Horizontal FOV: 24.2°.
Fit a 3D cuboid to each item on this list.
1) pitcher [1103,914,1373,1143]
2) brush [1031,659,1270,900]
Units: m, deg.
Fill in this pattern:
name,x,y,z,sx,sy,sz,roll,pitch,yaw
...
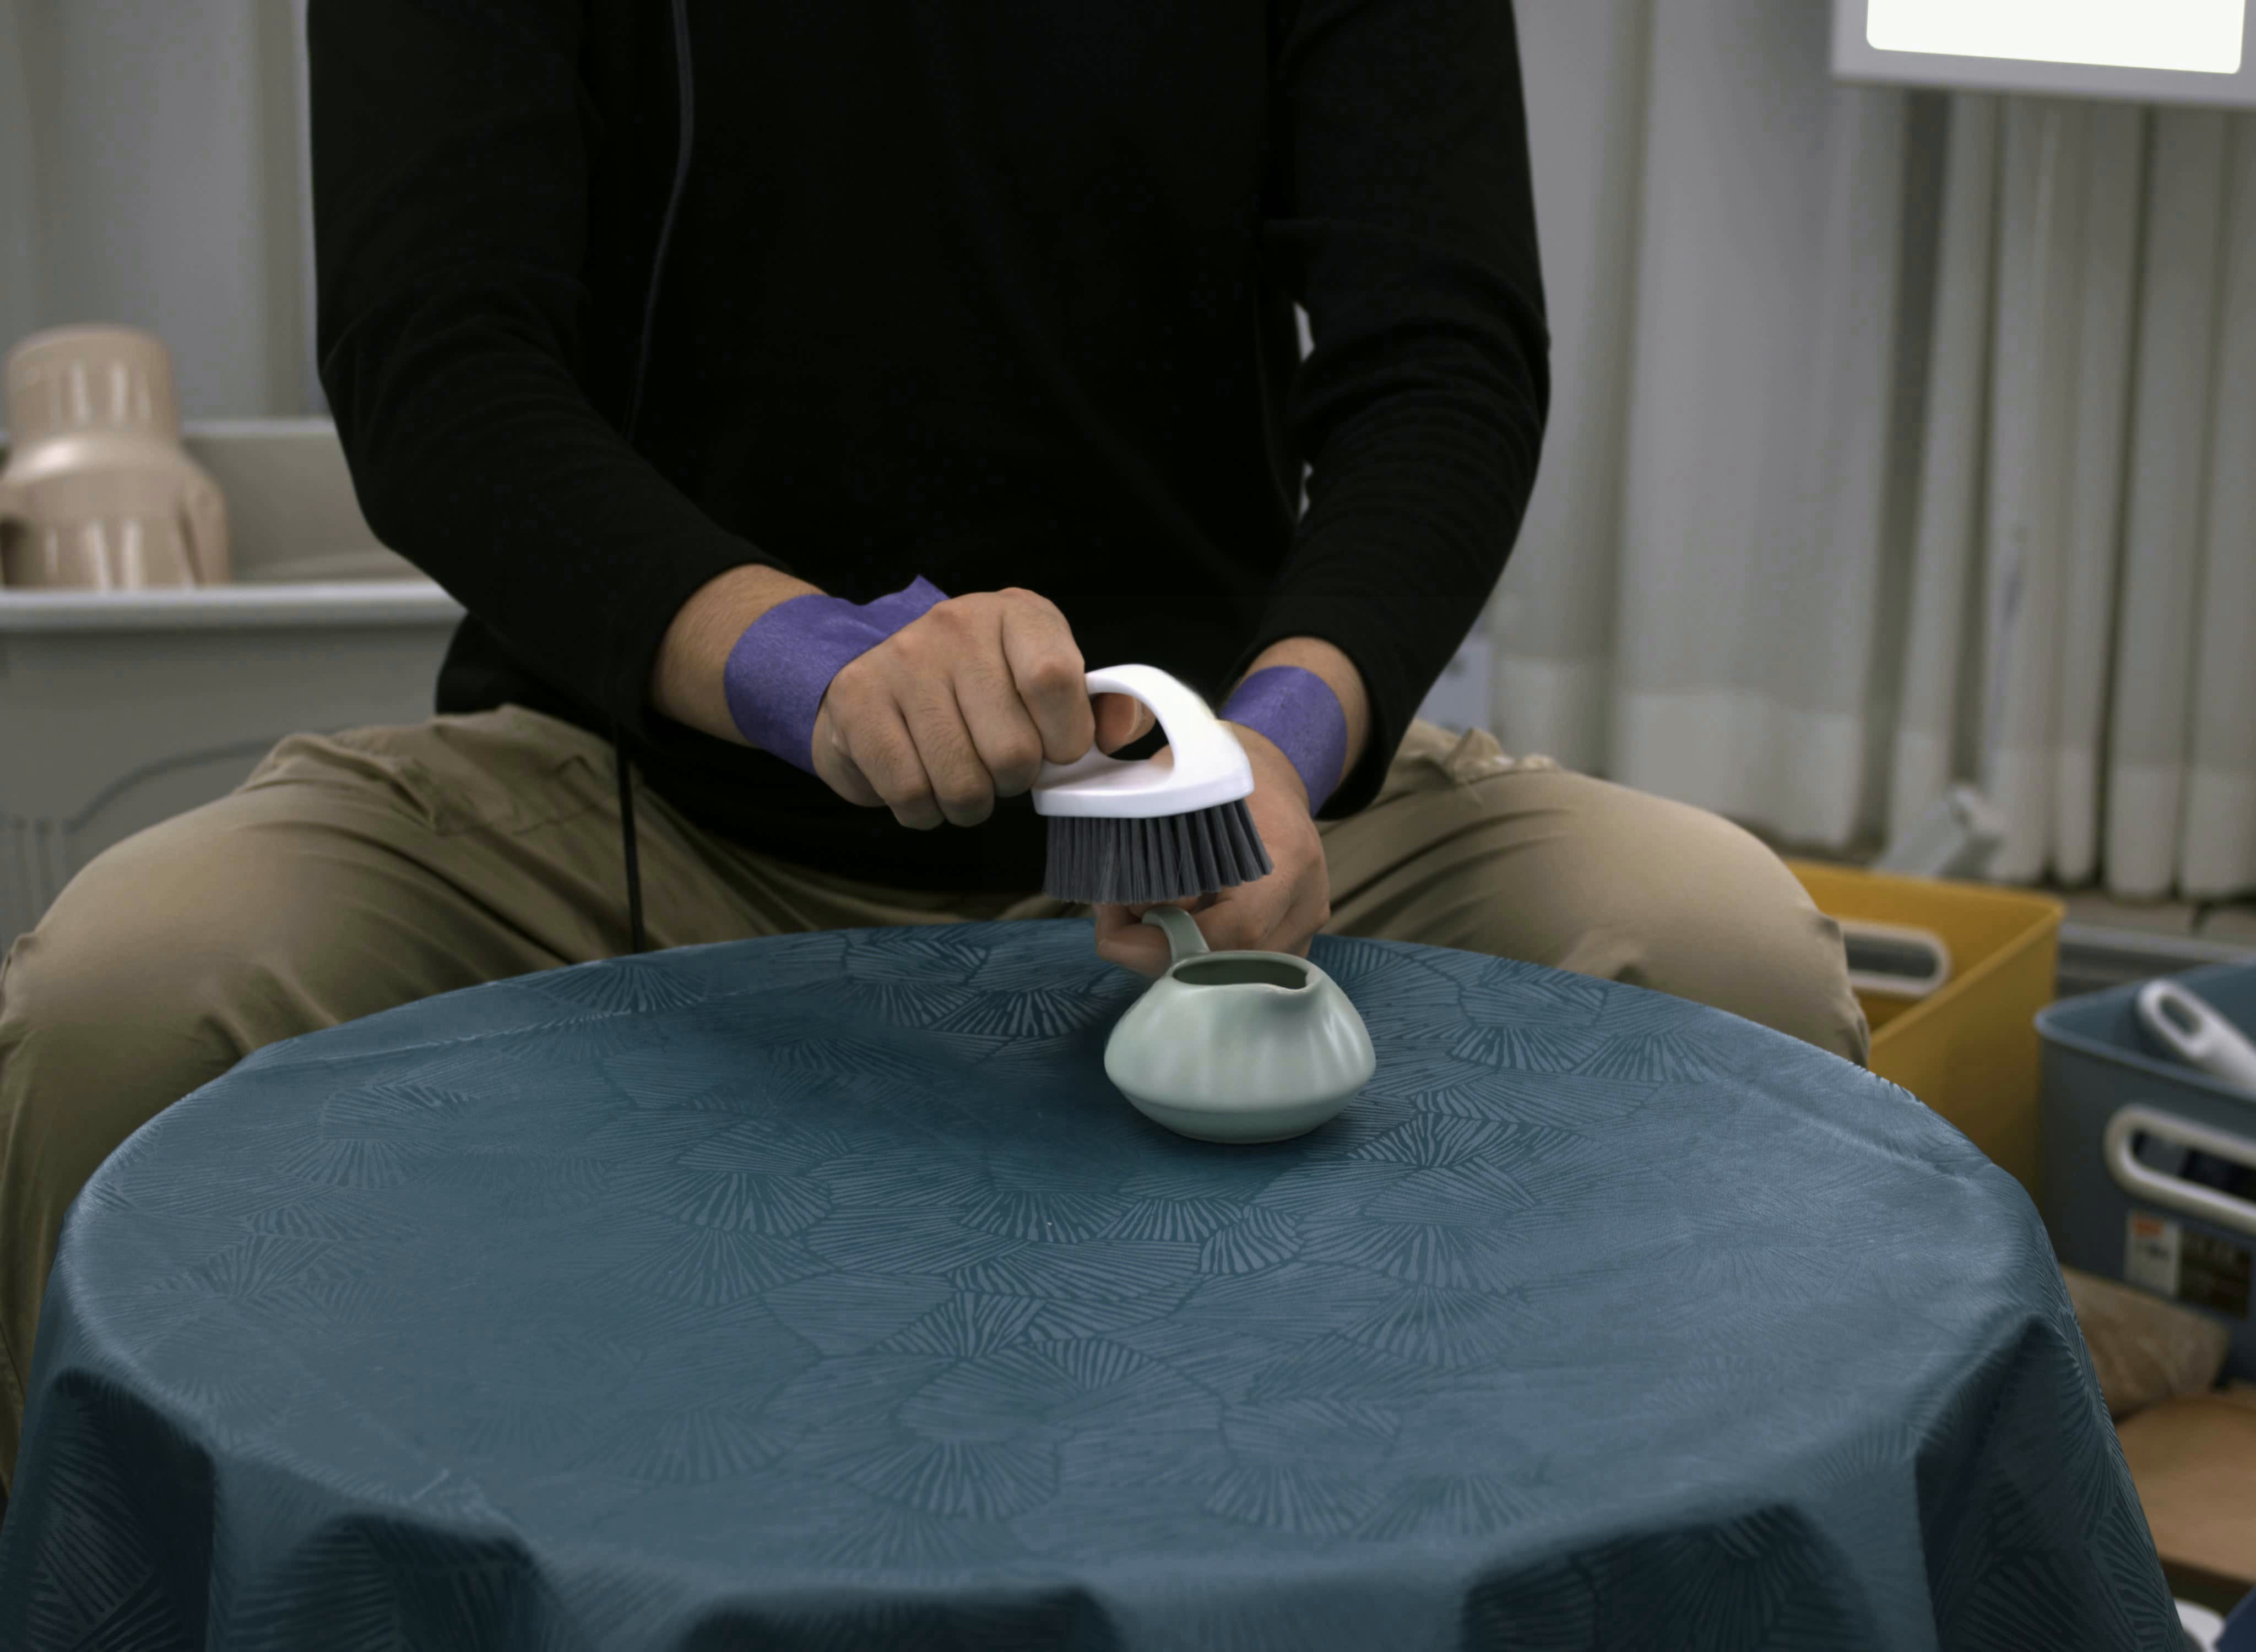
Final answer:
name,x,y,z,sx,sy,sz,roll,pitch,yaw
pitcher,0.029,0.065,1.689,0.086,0.061,0.106,-8,15,-29
brush,0.002,-0.017,1.692,0.050,0.073,0.098,-15,10,-28
